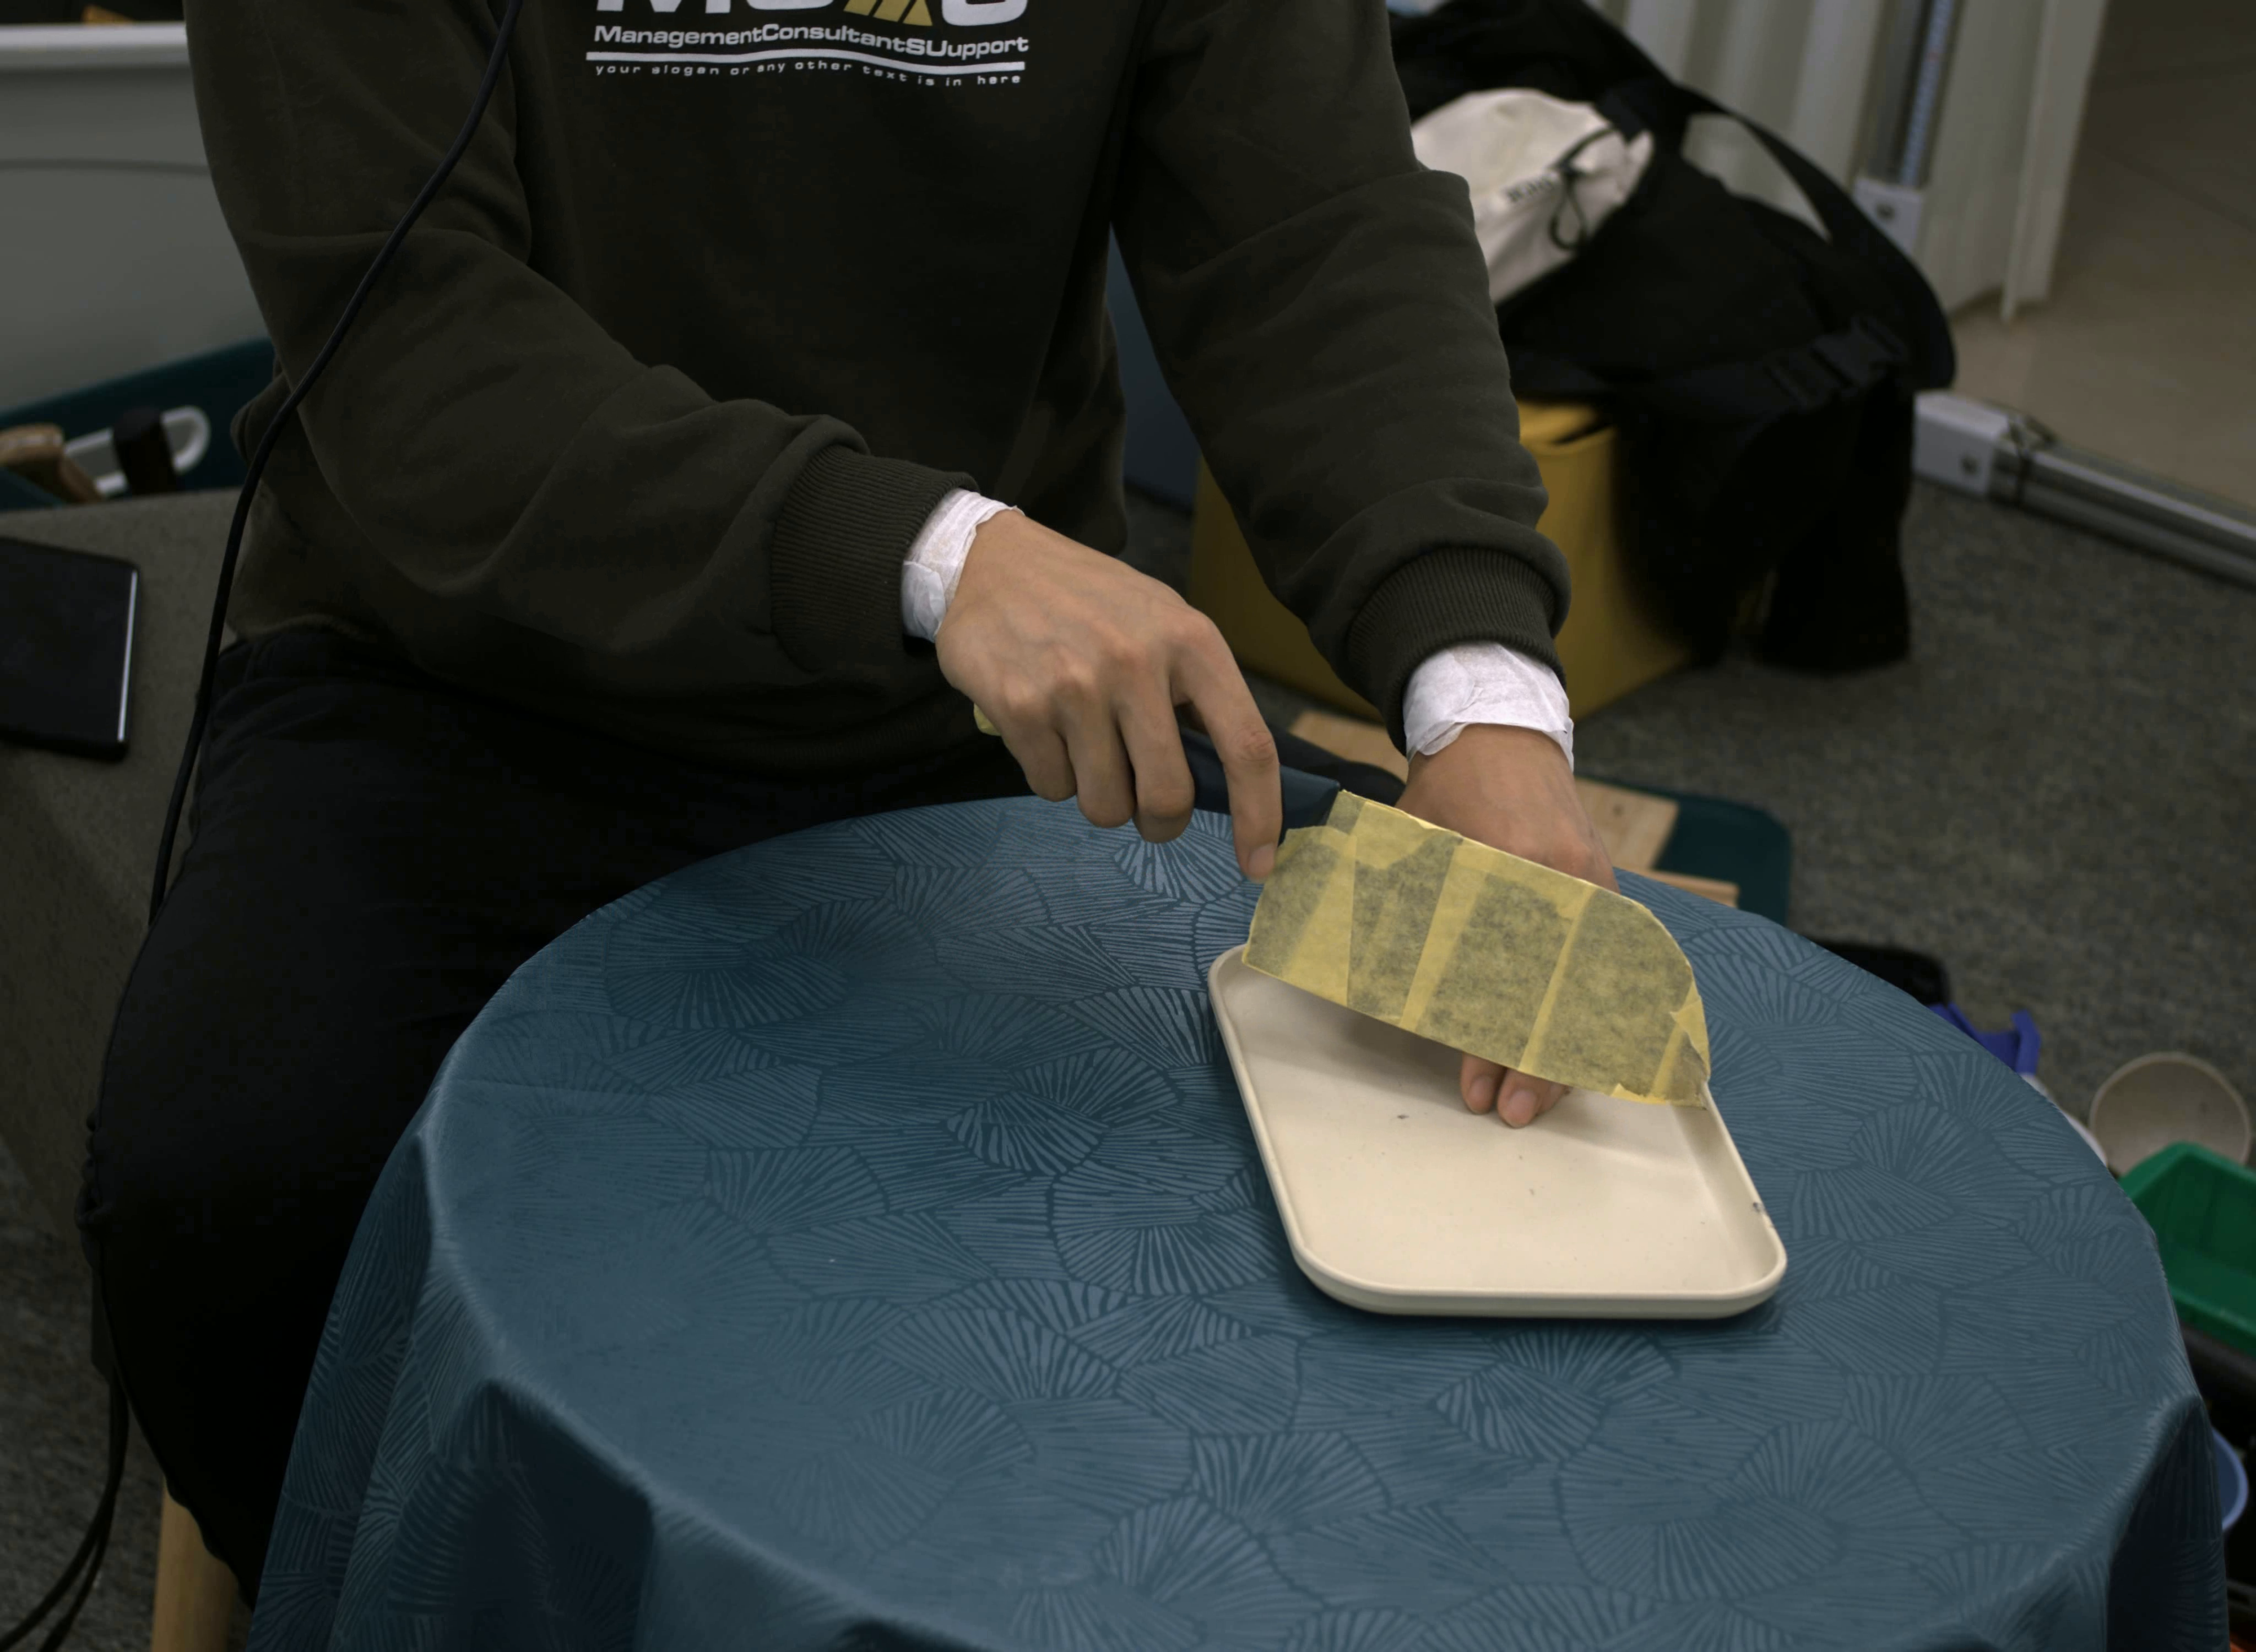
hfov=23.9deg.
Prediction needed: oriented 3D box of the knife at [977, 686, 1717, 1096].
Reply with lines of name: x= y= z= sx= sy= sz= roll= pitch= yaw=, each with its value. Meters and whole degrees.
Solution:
knife: x=0.073 y=0.022 z=1.867 sx=0.290 sy=0.081 sz=0.027 roll=24 pitch=11 yaw=12

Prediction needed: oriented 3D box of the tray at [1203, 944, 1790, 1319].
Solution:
tray: x=0.123 y=0.105 z=1.850 sx=0.170 sy=0.017 sz=0.241 roll=1 pitch=27 yaw=-10
